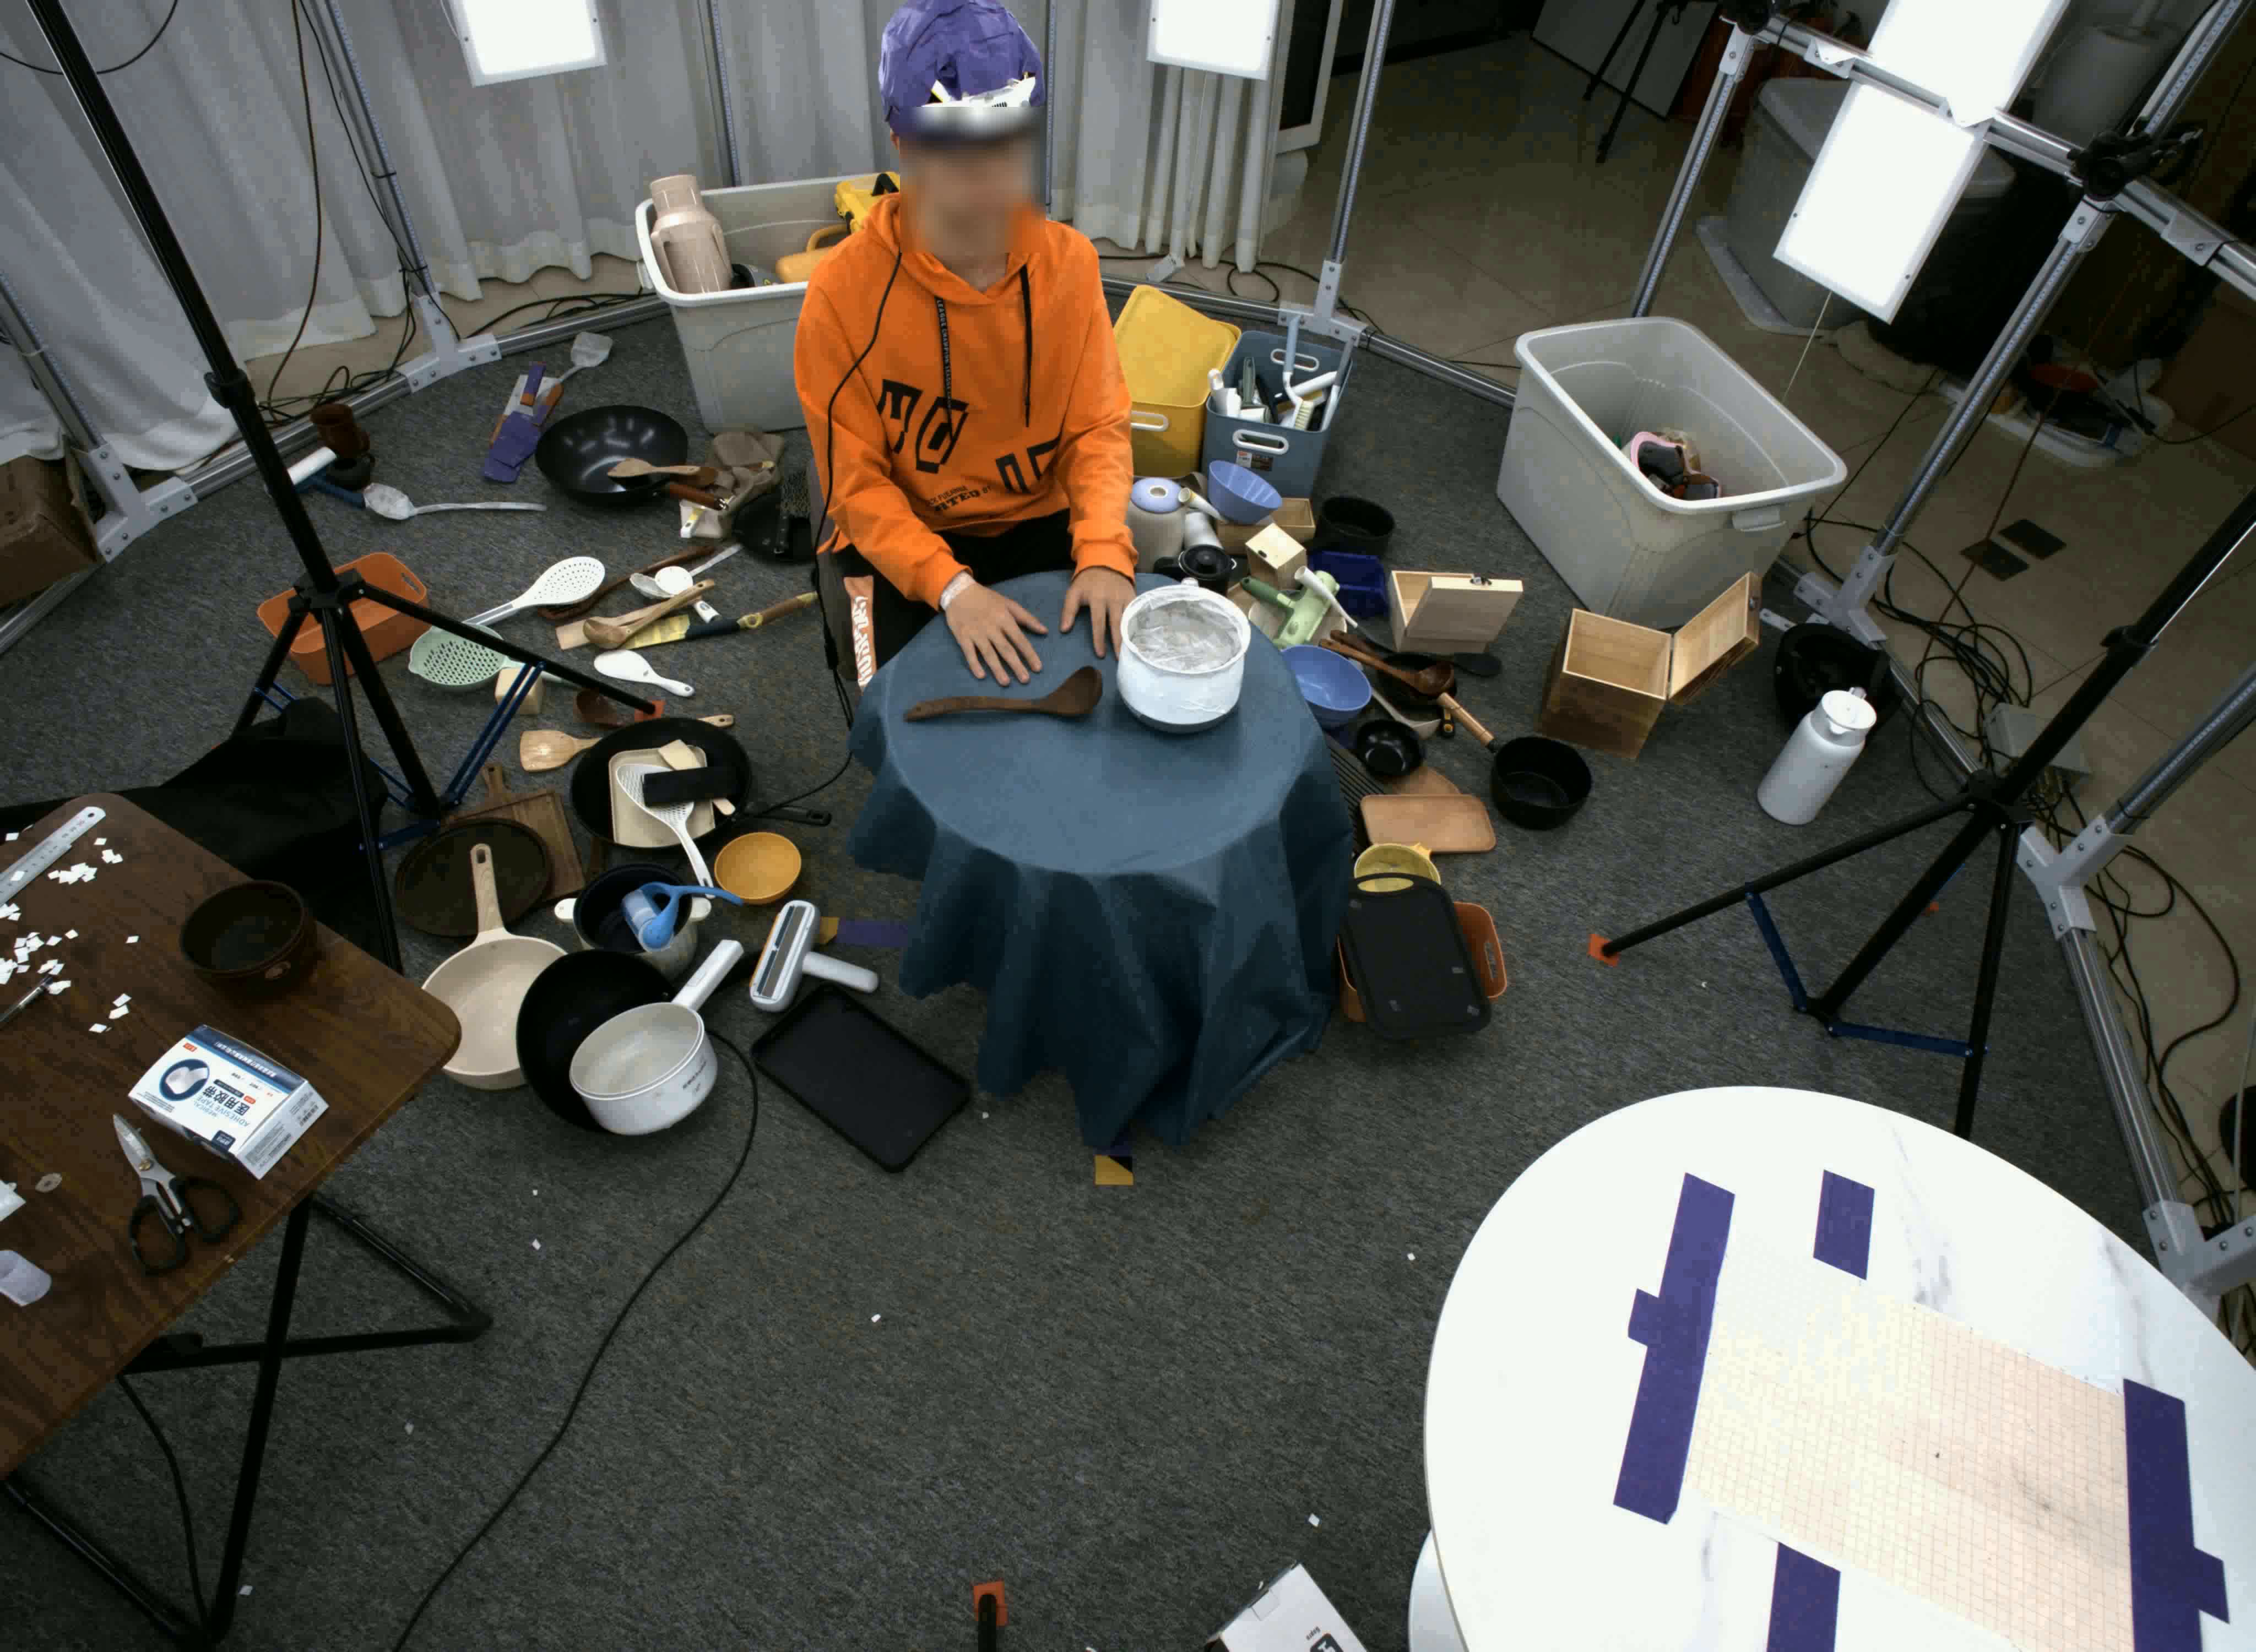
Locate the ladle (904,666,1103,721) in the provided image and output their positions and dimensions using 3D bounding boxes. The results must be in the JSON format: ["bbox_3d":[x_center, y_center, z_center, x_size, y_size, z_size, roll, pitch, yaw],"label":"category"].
[{"bbox_3d":[-0.171,-0.181,1.770,0.274,0.069,0.078,-3,47,-7],"label":"ladle"}]

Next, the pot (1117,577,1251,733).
[{"bbox_3d":[0.076,-0.249,1.801,0.178,0.133,0.239,5,49,0],"label":"pot"}]
